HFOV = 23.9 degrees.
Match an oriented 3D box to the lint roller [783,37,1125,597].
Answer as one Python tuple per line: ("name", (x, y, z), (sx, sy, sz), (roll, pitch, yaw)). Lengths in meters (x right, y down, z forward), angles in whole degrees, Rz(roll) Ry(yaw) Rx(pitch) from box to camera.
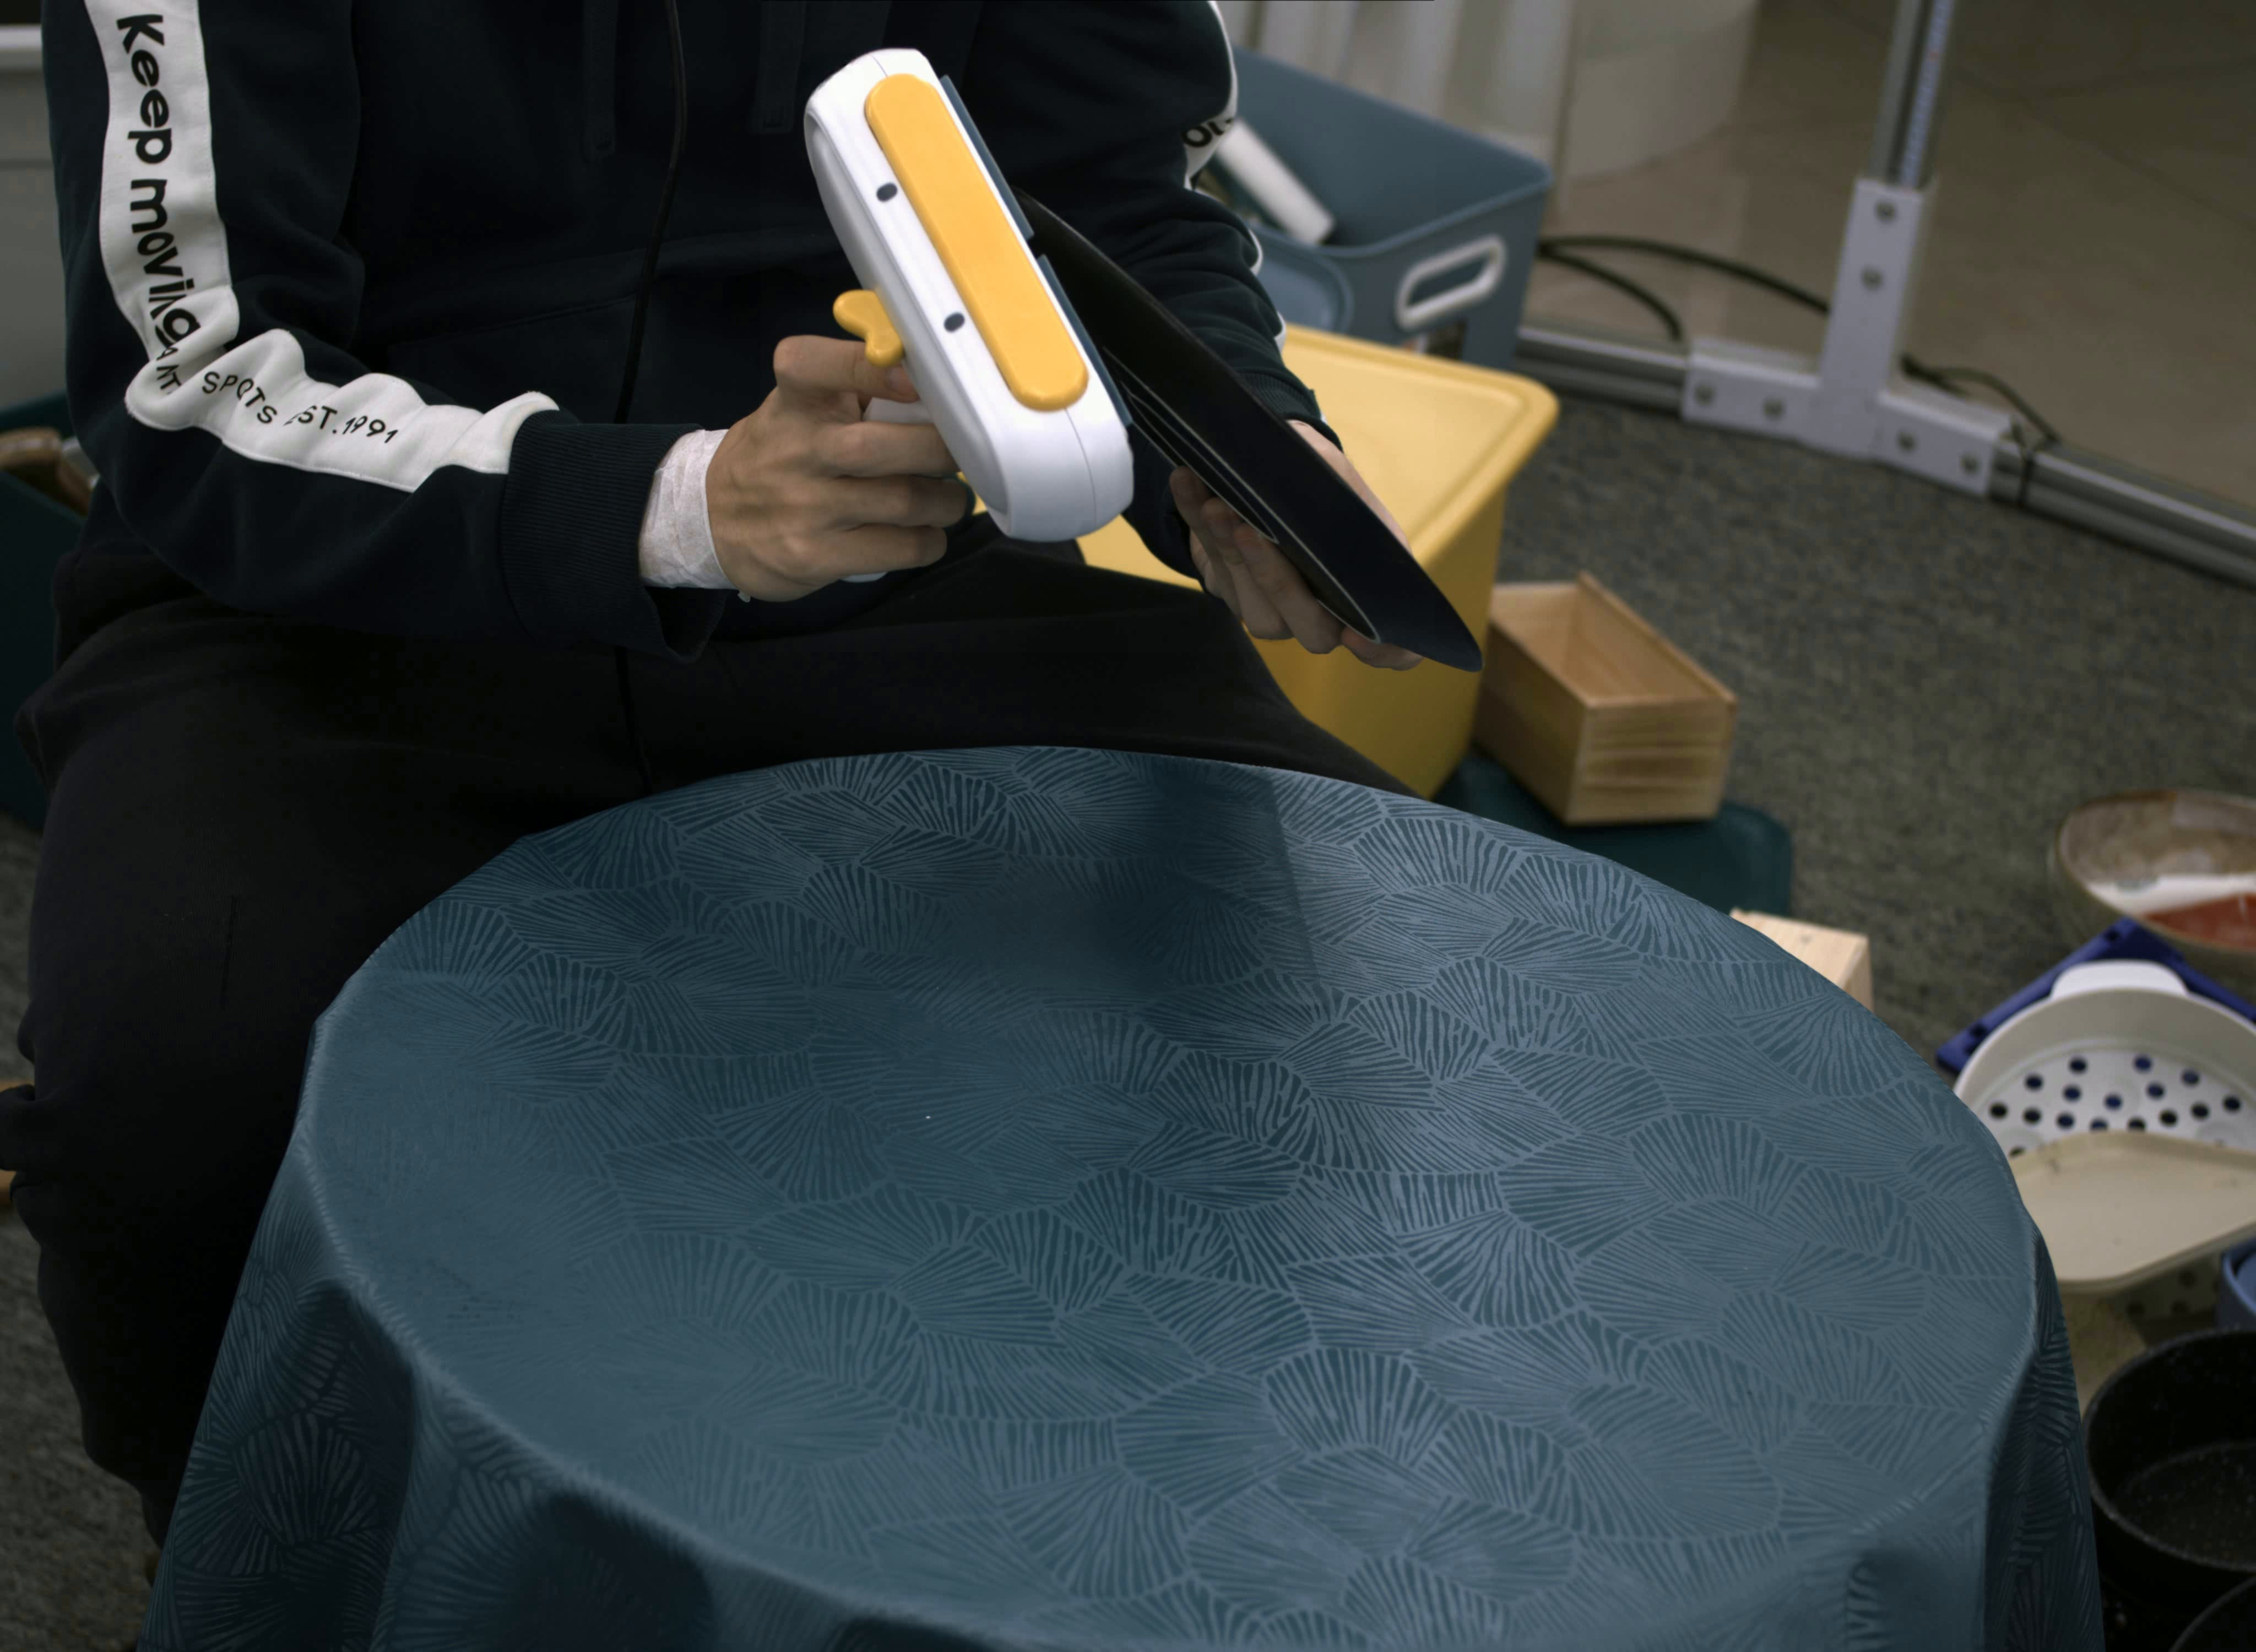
("lint roller", (-0.071, -0.153, 1.877), (0.074, 0.191, 0.194), (-24, 62, -20))

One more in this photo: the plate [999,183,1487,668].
("plate", (0.034, -0.136, 1.904), (0.244, 0.023, 0.244), (45, -1, 1))
